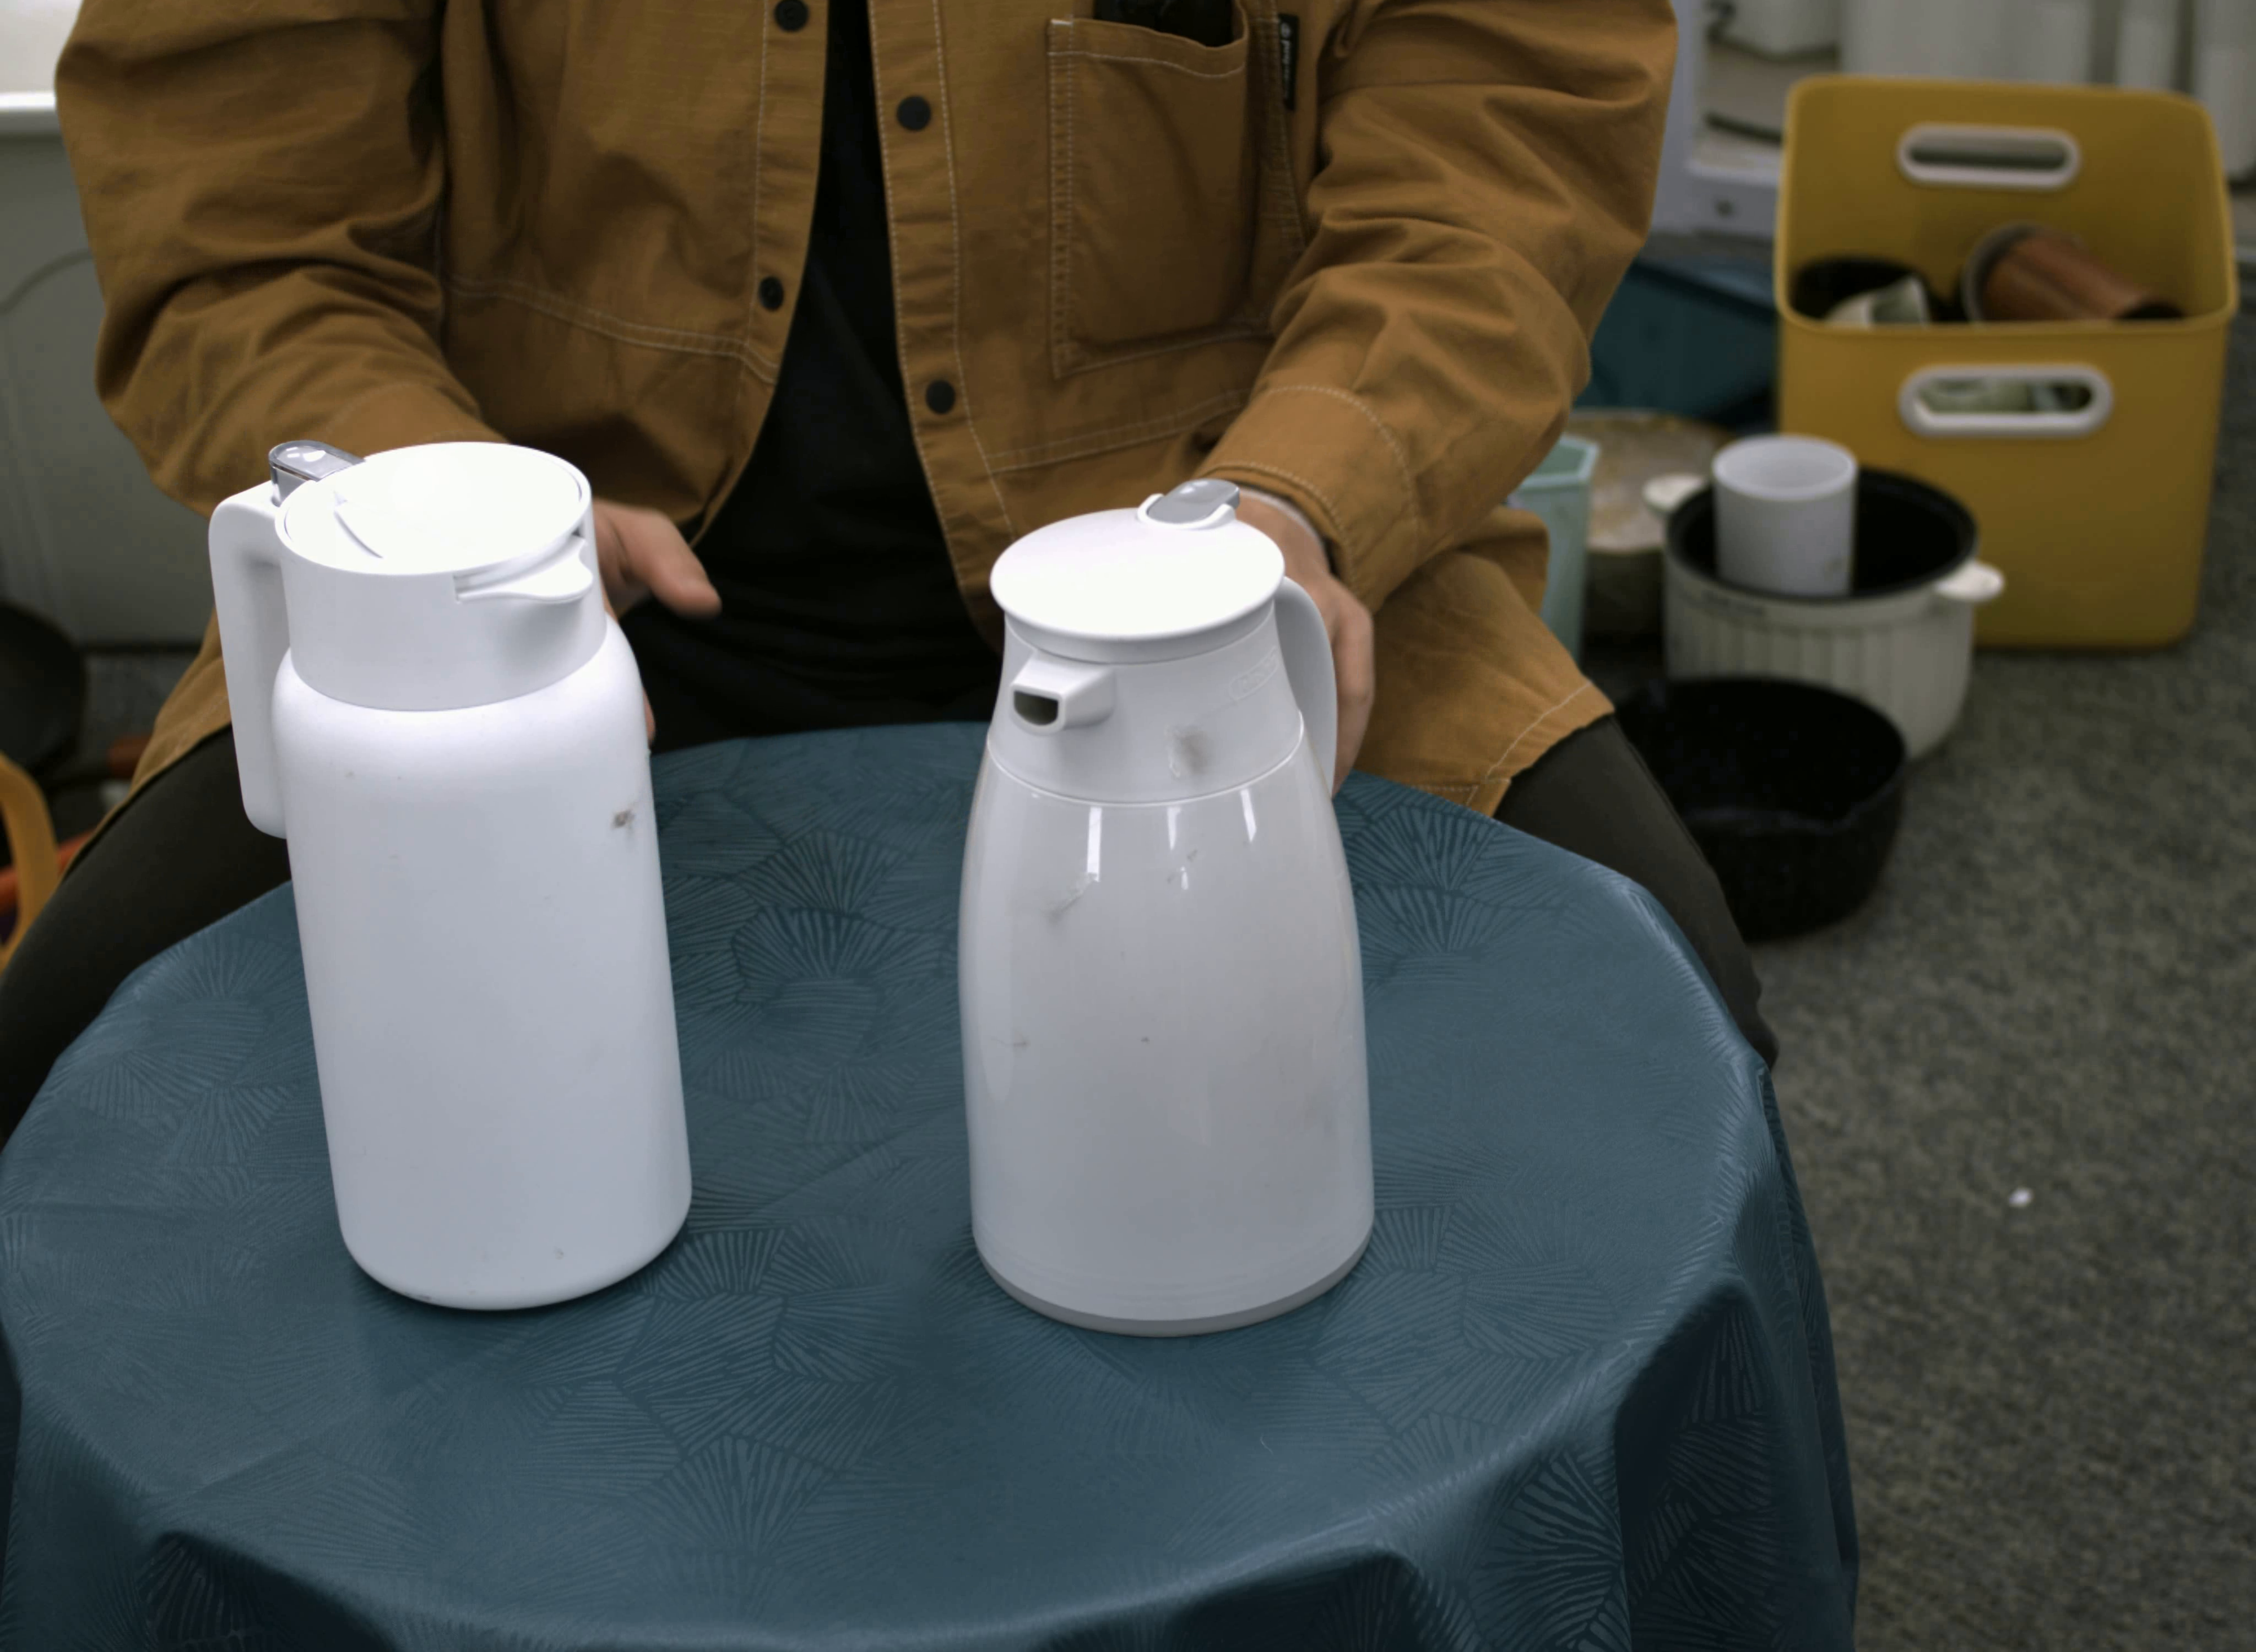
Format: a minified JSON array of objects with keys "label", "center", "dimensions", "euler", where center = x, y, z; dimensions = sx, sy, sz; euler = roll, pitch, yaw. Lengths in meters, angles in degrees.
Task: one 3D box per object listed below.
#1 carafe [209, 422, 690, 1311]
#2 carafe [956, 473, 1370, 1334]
[{"label":"carafe","center":[-0.222,0.011,1.807],"dimensions":[0.172,0.266,0.125],"euler":[20,36,39]},{"label":"carafe","center":[0.017,0.014,1.799],"dimensions":[0.132,0.246,0.170],"euler":[11,29,27]}]
